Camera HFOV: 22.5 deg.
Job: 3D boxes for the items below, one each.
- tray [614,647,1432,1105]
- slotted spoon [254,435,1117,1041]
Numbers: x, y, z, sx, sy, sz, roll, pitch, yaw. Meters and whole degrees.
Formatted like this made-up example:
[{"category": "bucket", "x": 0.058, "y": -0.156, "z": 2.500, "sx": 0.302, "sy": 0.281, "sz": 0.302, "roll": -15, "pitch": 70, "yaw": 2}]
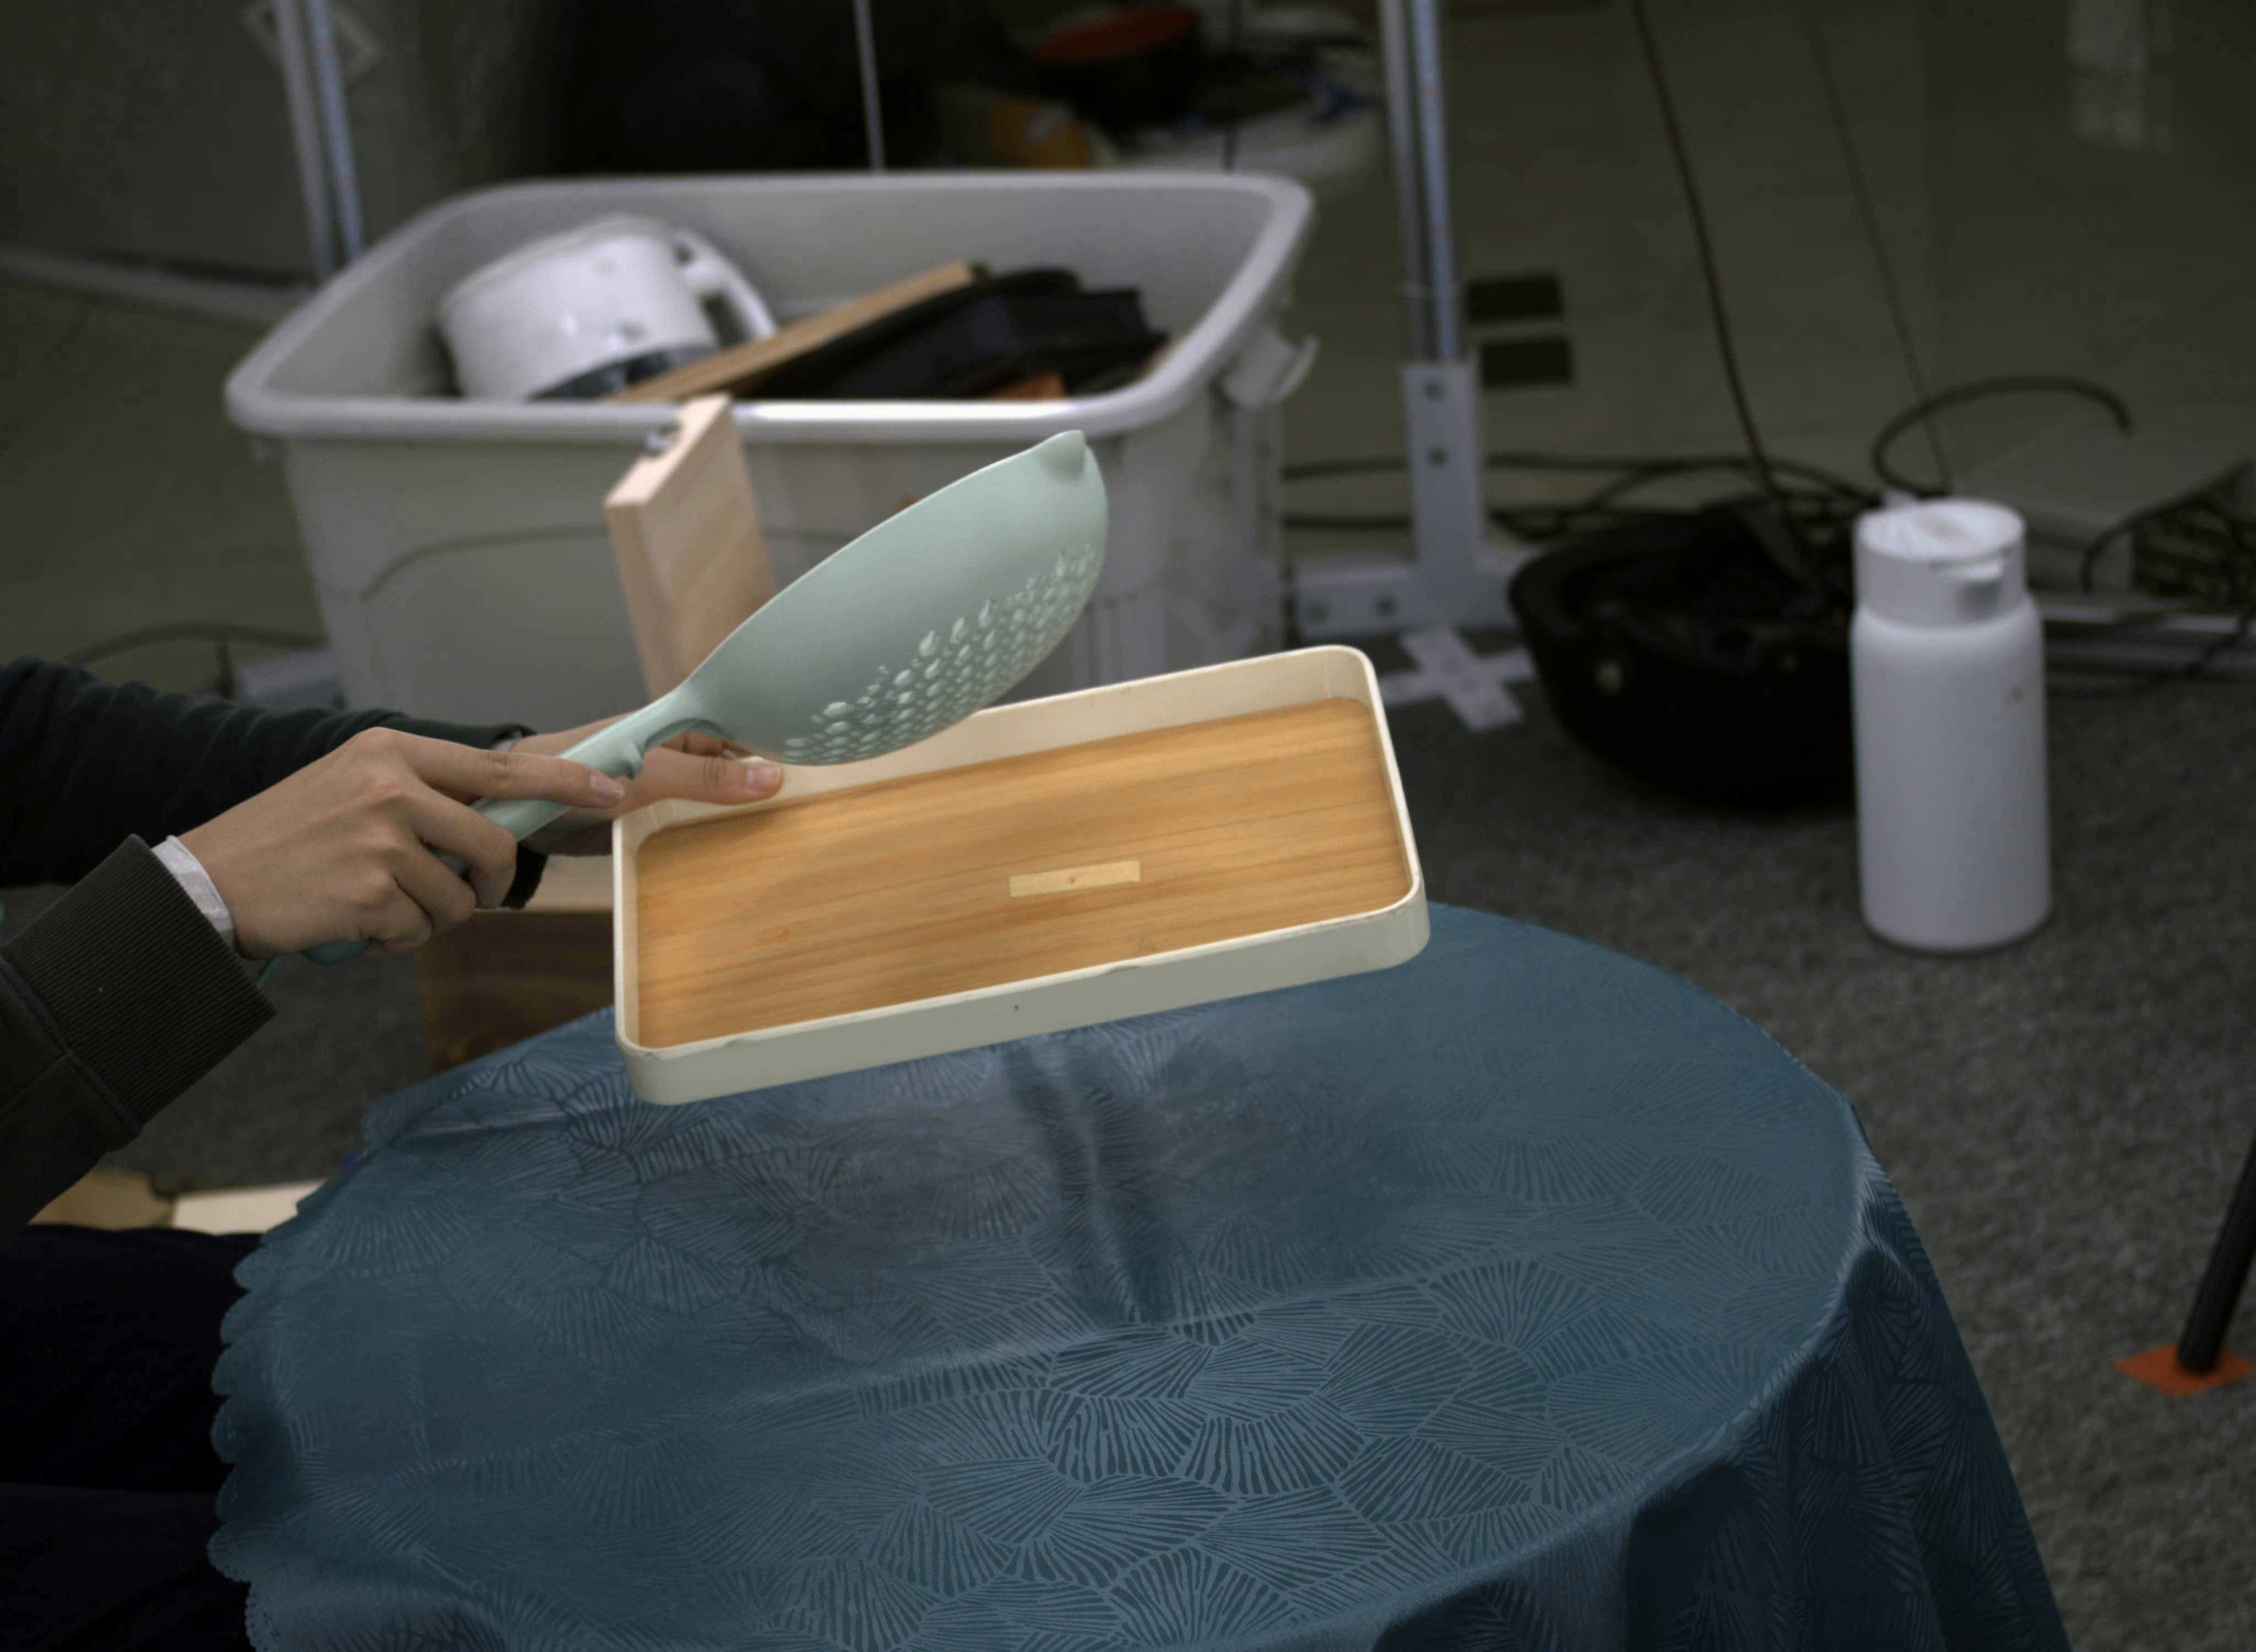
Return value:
[{"category": "tray", "x": -0.043, "y": 0.017, "z": 2.124, "sx": 0.300, "sy": 0.028, "sz": 0.188, "roll": -11, "pitch": 34, "yaw": 2}, {"category": "slotted spoon", "x": -0.155, "y": -0.029, "z": 1.990, "sx": 0.357, "sy": 0.075, "sz": 0.171, "roll": -23, "pitch": -10, "yaw": -14}]
